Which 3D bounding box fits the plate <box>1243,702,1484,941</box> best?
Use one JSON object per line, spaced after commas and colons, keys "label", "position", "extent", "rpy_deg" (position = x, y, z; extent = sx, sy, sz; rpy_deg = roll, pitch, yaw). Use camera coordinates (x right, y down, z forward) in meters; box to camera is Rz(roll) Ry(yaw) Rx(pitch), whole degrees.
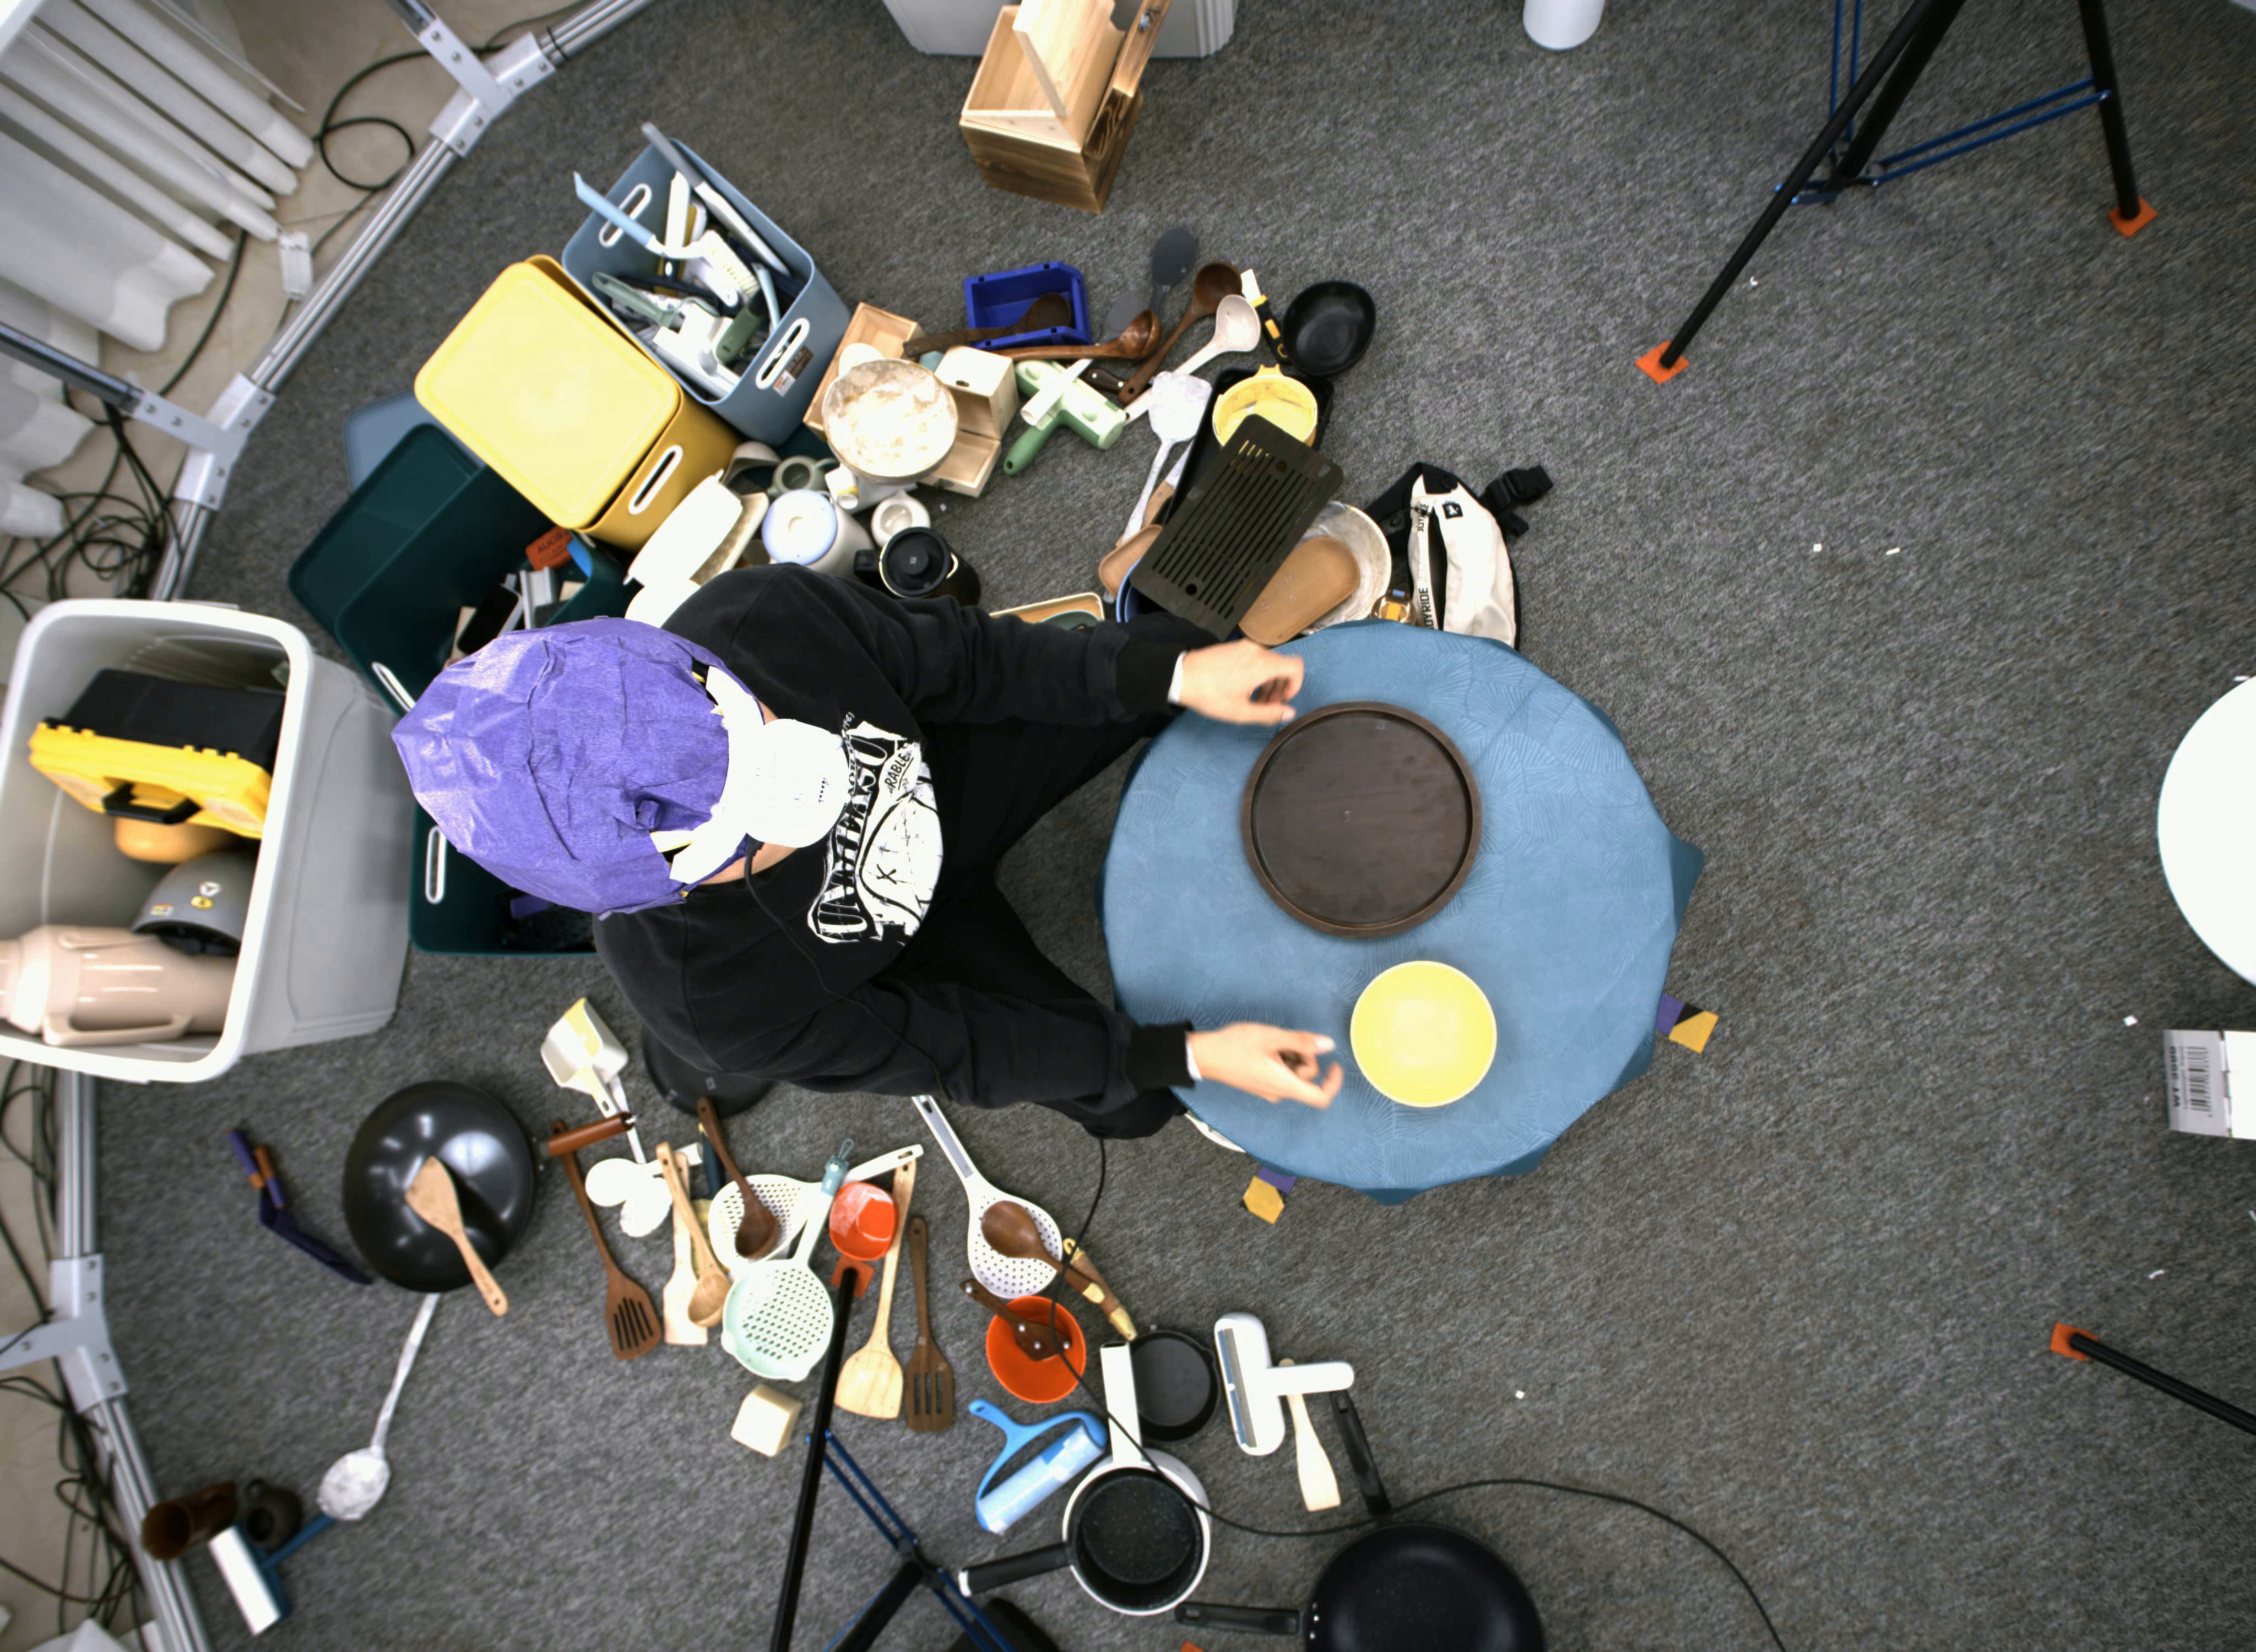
{"label": "plate", "position": [0.248, -0.005, 1.463], "extent": [0.256, 0.029, 0.254], "rpy_deg": [-1, 87, 11]}

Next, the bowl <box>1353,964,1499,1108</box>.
{"label": "bowl", "position": [0.306, 0.214, 1.420], "extent": [0.146, 0.060, 0.144], "rpy_deg": [-1, 84, 12]}
